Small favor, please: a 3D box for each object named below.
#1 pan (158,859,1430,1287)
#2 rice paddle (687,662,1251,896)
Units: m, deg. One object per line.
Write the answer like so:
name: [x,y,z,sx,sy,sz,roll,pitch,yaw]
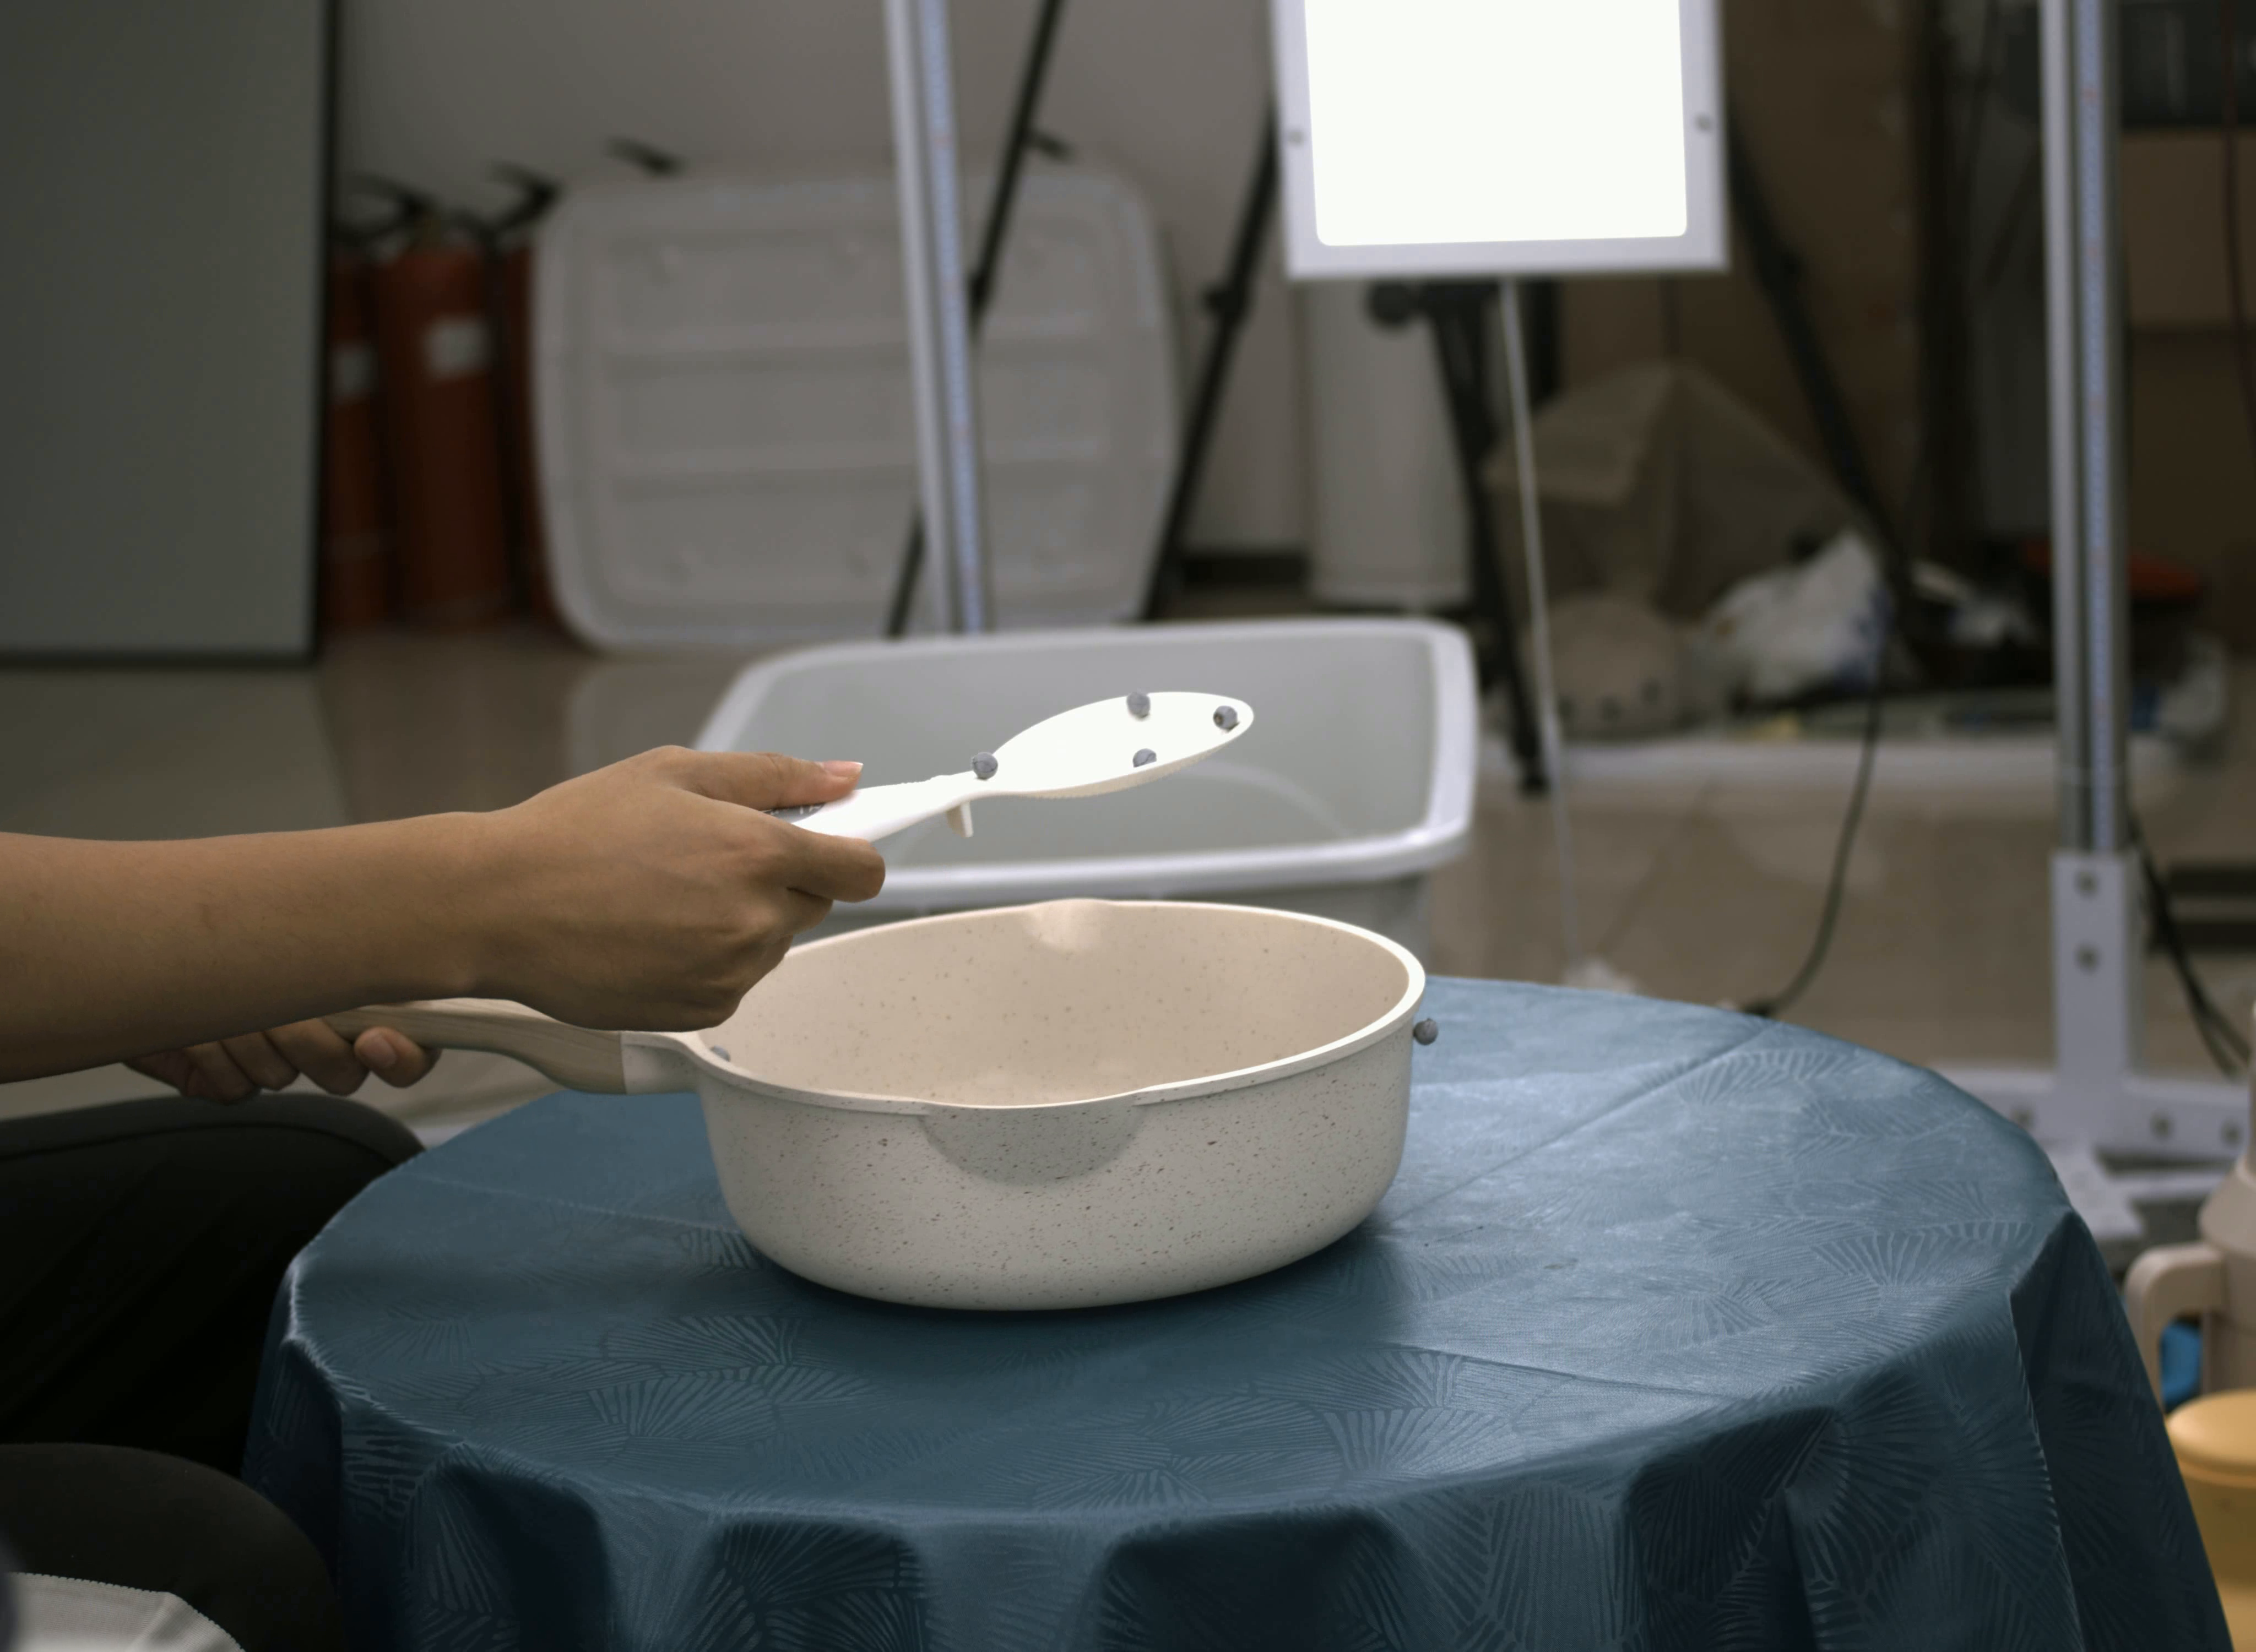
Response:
pan: [-0.111,0.085,1.884,0.435,0.102,0.262,-4,16,5]
rice paddle: [-0.048,-0.023,1.794,0.201,0.029,0.070,-20,25,-25]
